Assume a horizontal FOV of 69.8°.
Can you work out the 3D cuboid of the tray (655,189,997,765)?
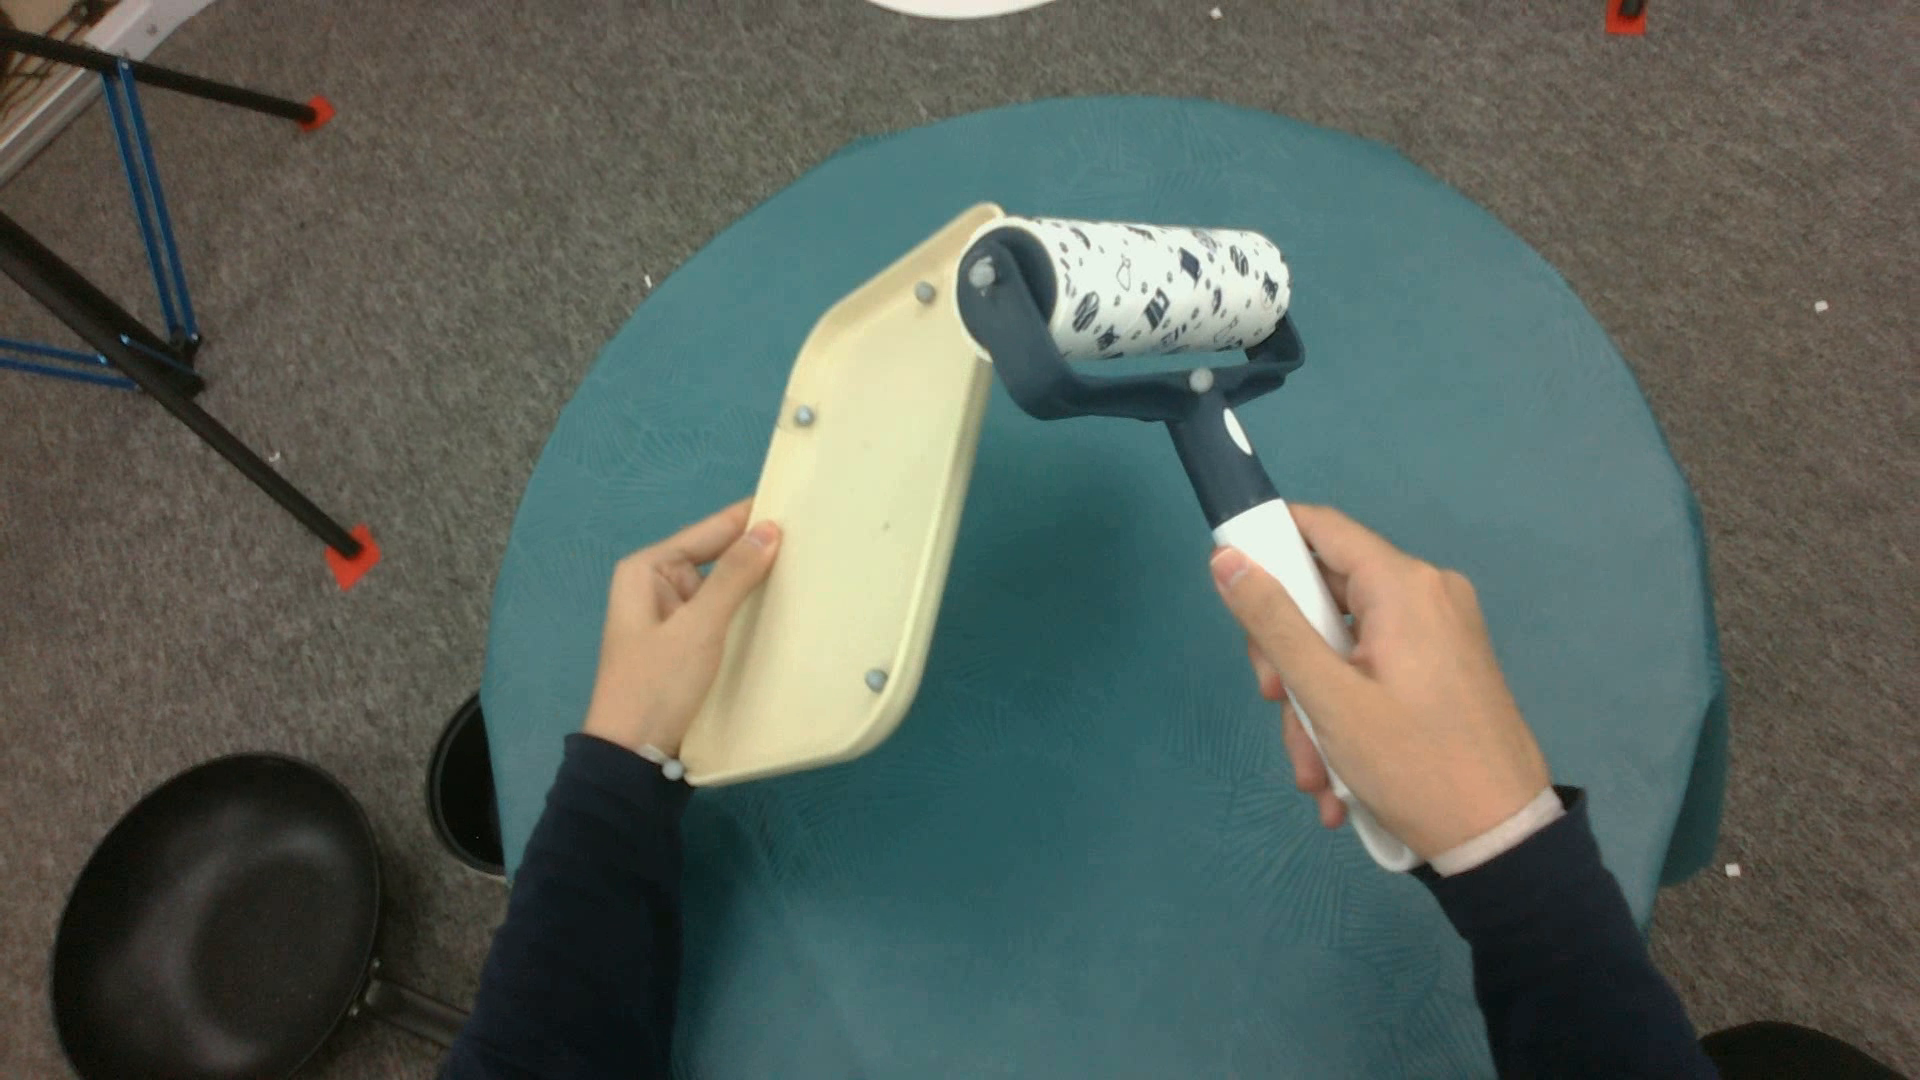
[{"bbox_3d":[-0.054,-0.025,0.572,0.170,0.017,0.240,-20,50,50],"label":"tray"}]

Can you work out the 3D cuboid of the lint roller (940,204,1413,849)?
[{"bbox_3d":[0.103,-0.009,0.493,0.050,0.177,0.247,-34,78,37],"label":"lint roller"}]
